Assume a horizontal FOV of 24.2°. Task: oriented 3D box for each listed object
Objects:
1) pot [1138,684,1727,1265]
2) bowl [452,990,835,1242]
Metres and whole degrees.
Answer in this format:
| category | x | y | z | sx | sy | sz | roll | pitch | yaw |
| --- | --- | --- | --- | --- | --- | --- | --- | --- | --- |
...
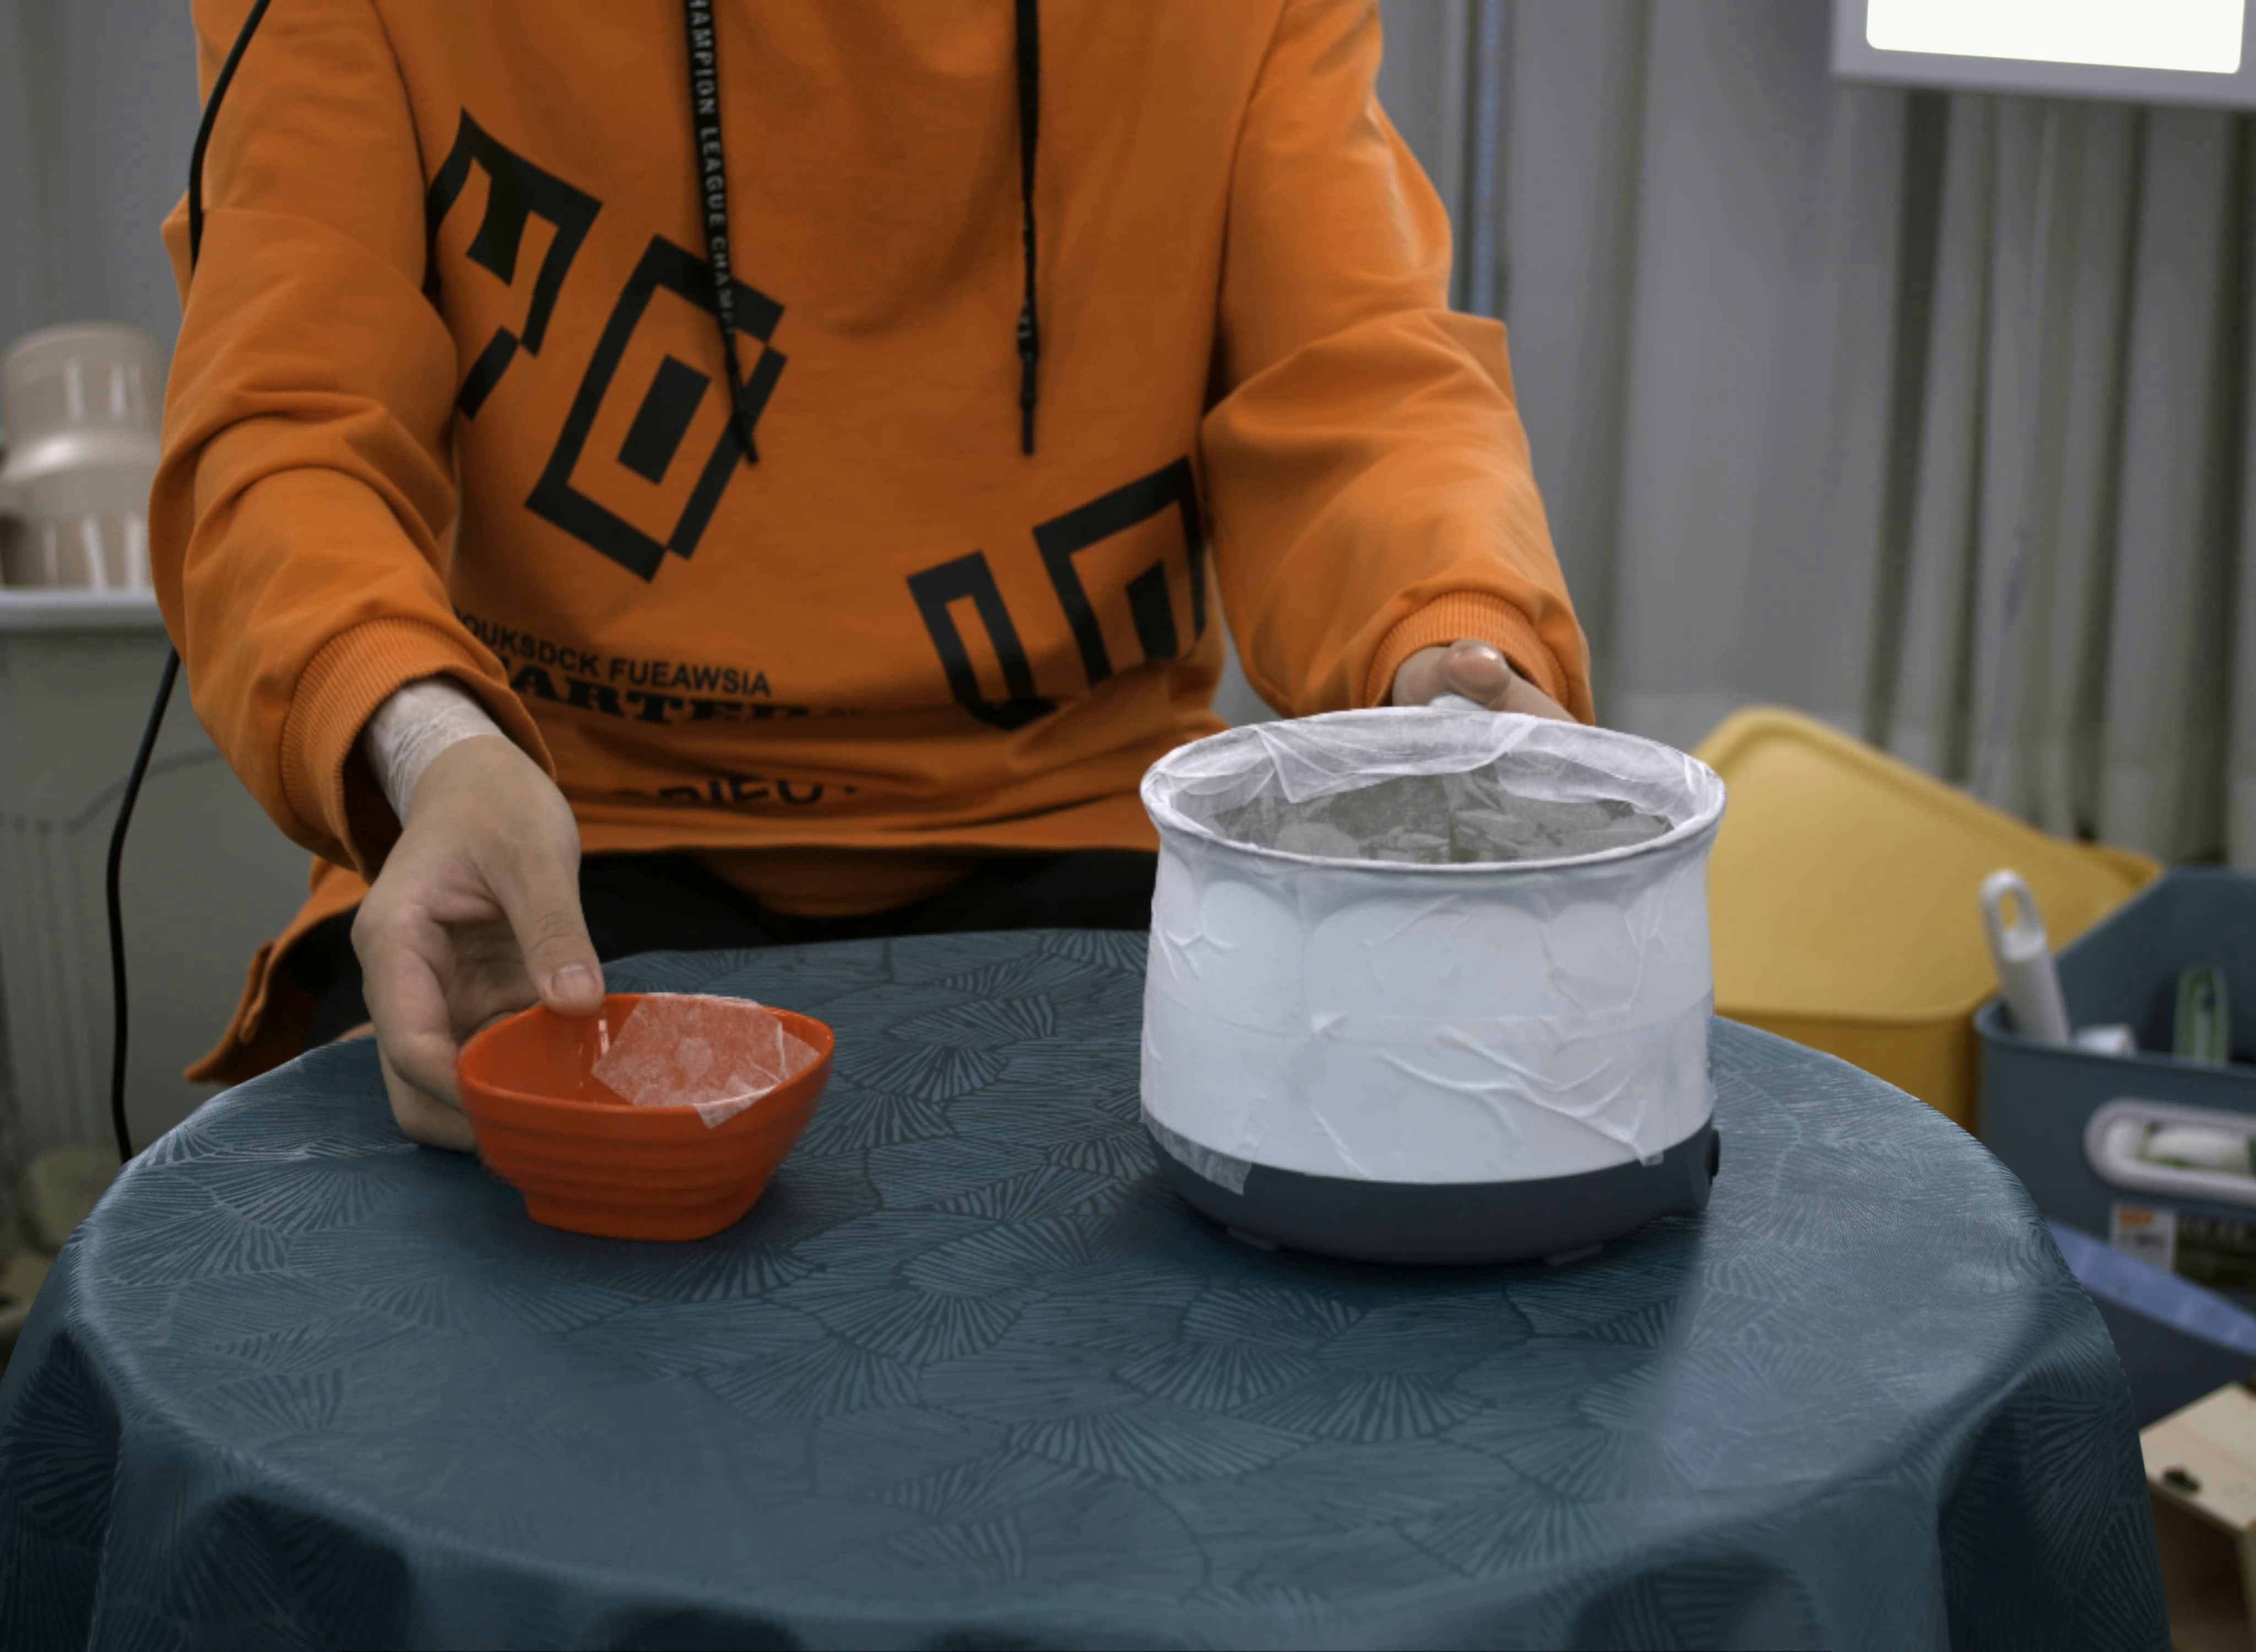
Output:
| category | x | y | z | sx | sy | sz | roll | pitch | yaw |
| --- | --- | --- | --- | --- | --- | --- | --- | --- | --- |
| pot | 0.094 | 0.040 | 1.625 | 0.178 | 0.138 | 0.233 | 2 | 16 | 5 |
| bowl | -0.146 | 0.090 | 1.602 | 0.118 | 0.052 | 0.118 | 0 | 16 | 1 |
